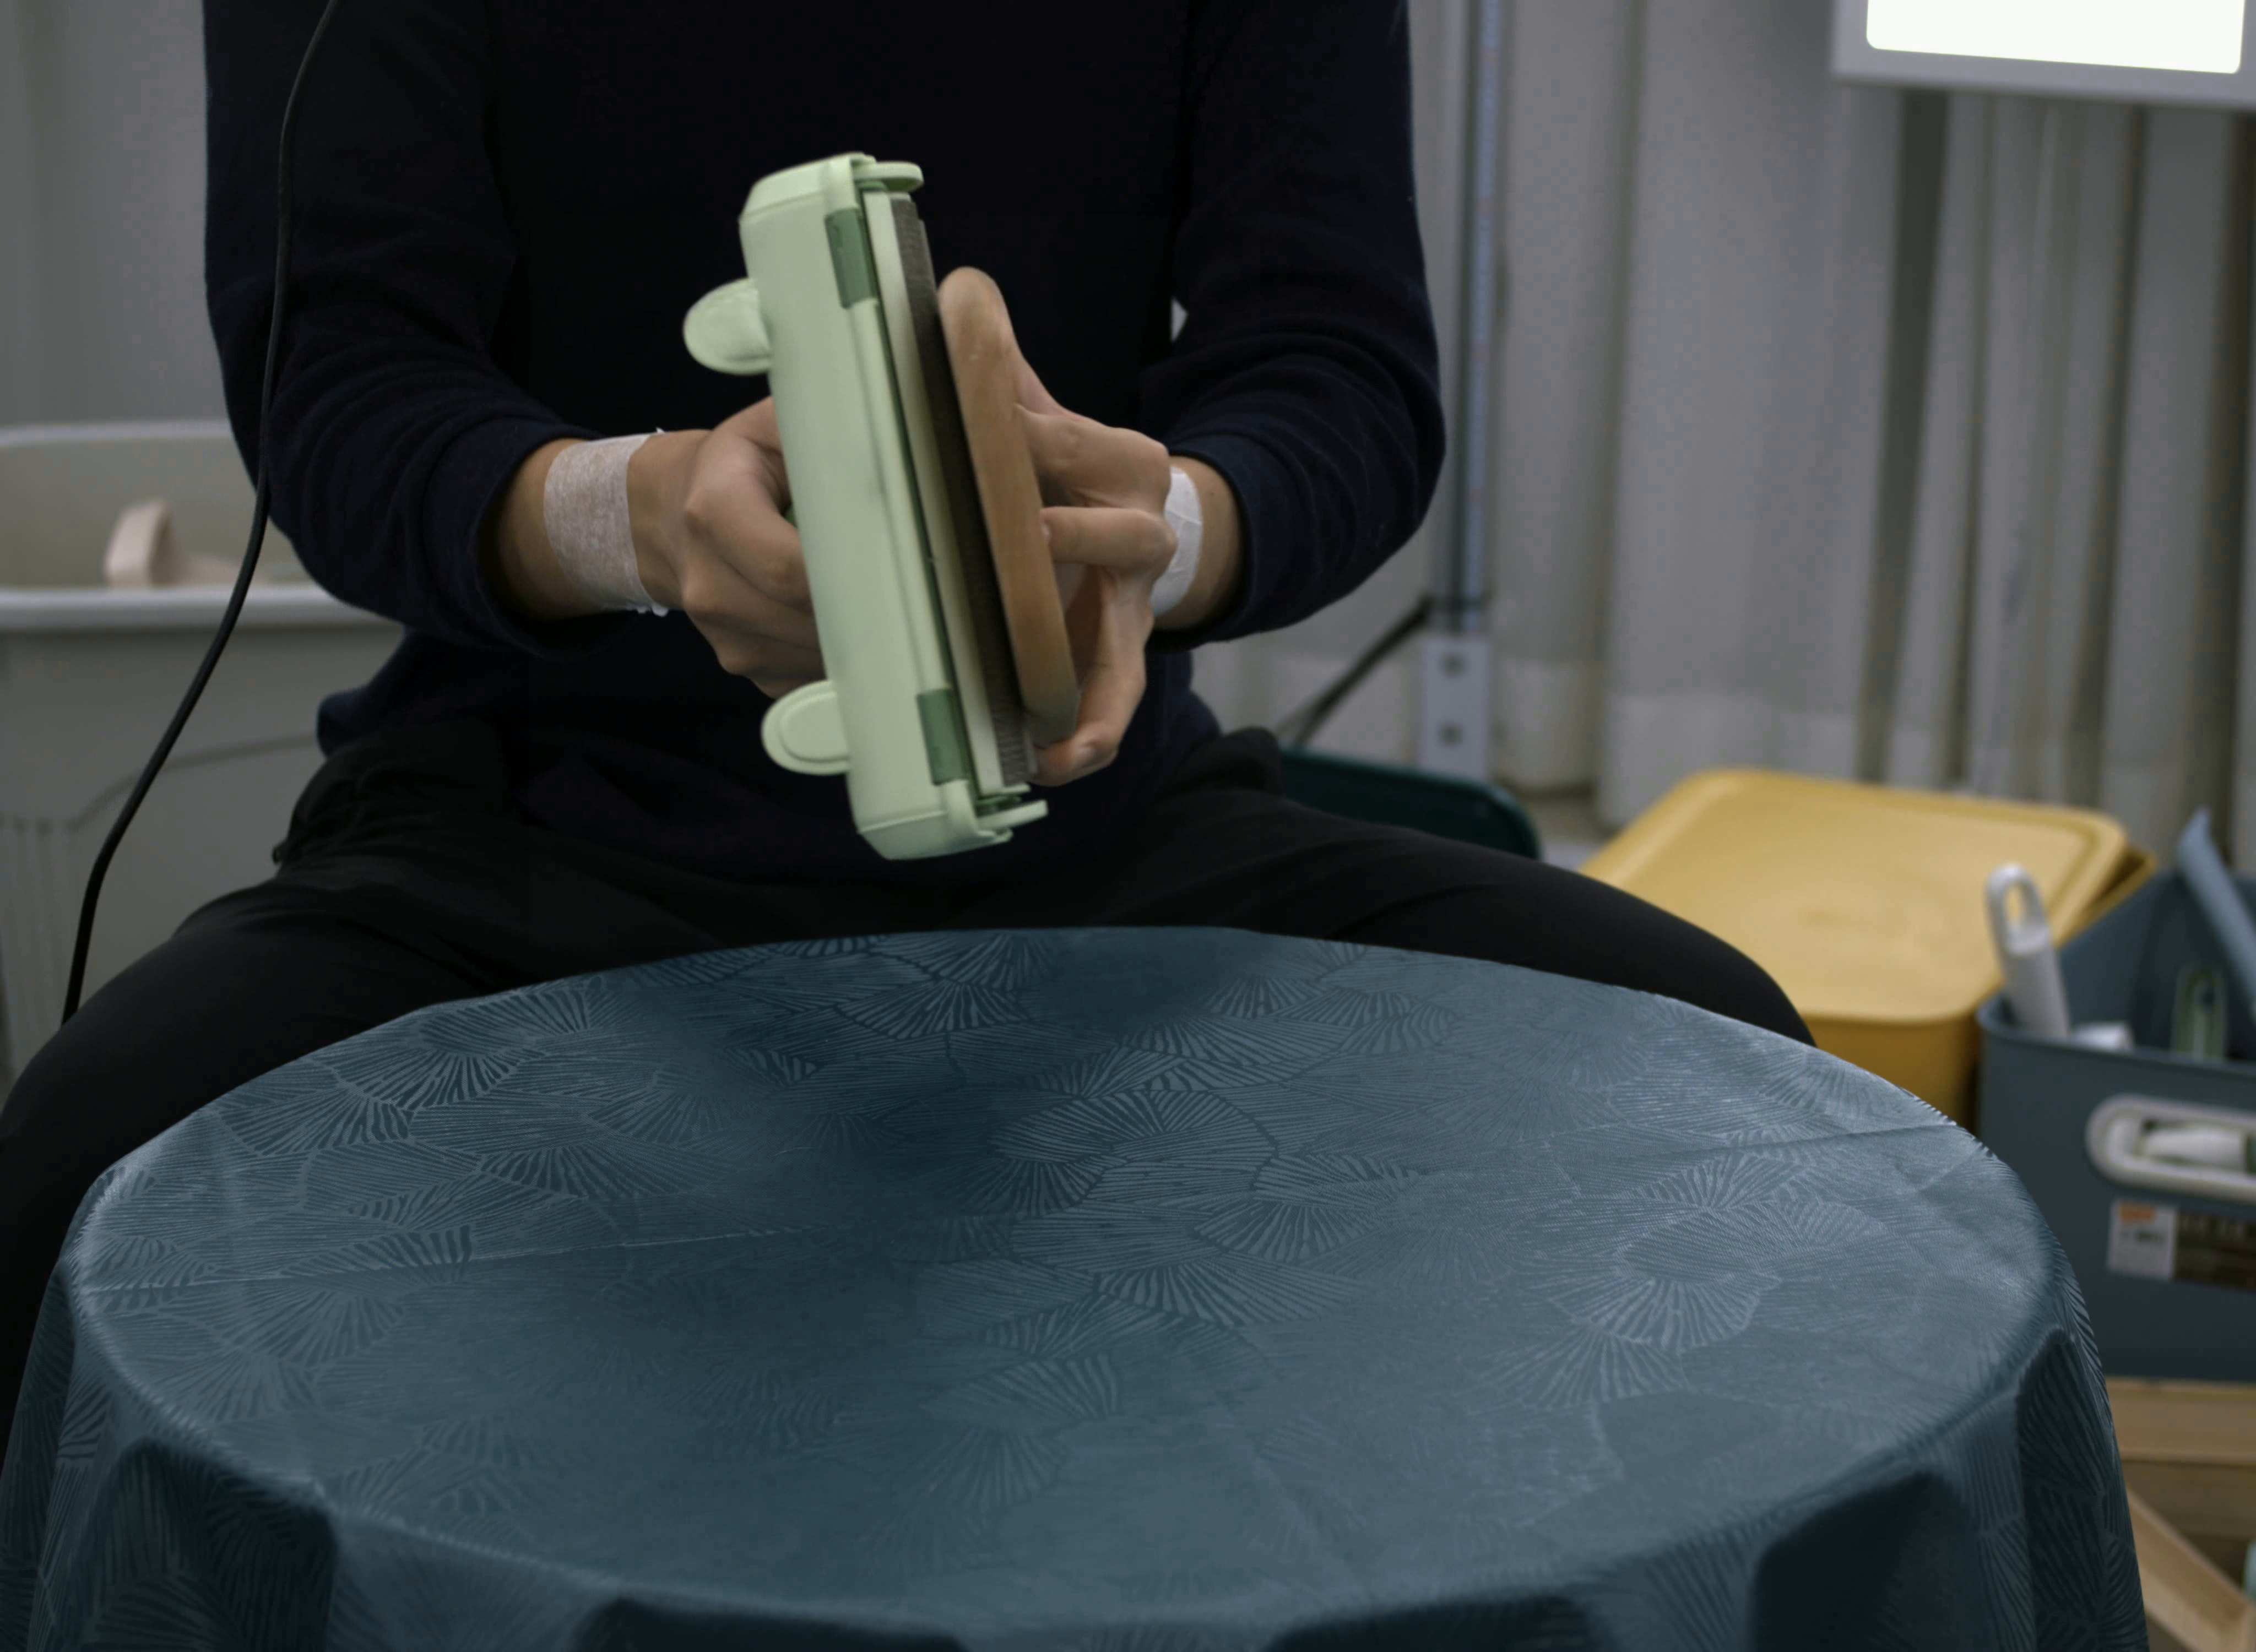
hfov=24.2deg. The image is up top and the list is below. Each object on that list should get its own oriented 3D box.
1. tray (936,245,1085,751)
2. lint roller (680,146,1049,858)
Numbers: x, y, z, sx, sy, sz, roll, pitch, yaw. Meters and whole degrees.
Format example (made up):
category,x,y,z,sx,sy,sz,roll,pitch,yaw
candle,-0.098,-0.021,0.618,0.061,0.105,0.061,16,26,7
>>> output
category,x,y,z,sx,sy,sz,roll,pitch,yaw
tray,-0.034,-0.091,1.535,0.023,0.131,0.251,-10,-3,-2
lint roller,-0.095,-0.082,1.529,0.082,0.199,0.182,-11,-2,-25
